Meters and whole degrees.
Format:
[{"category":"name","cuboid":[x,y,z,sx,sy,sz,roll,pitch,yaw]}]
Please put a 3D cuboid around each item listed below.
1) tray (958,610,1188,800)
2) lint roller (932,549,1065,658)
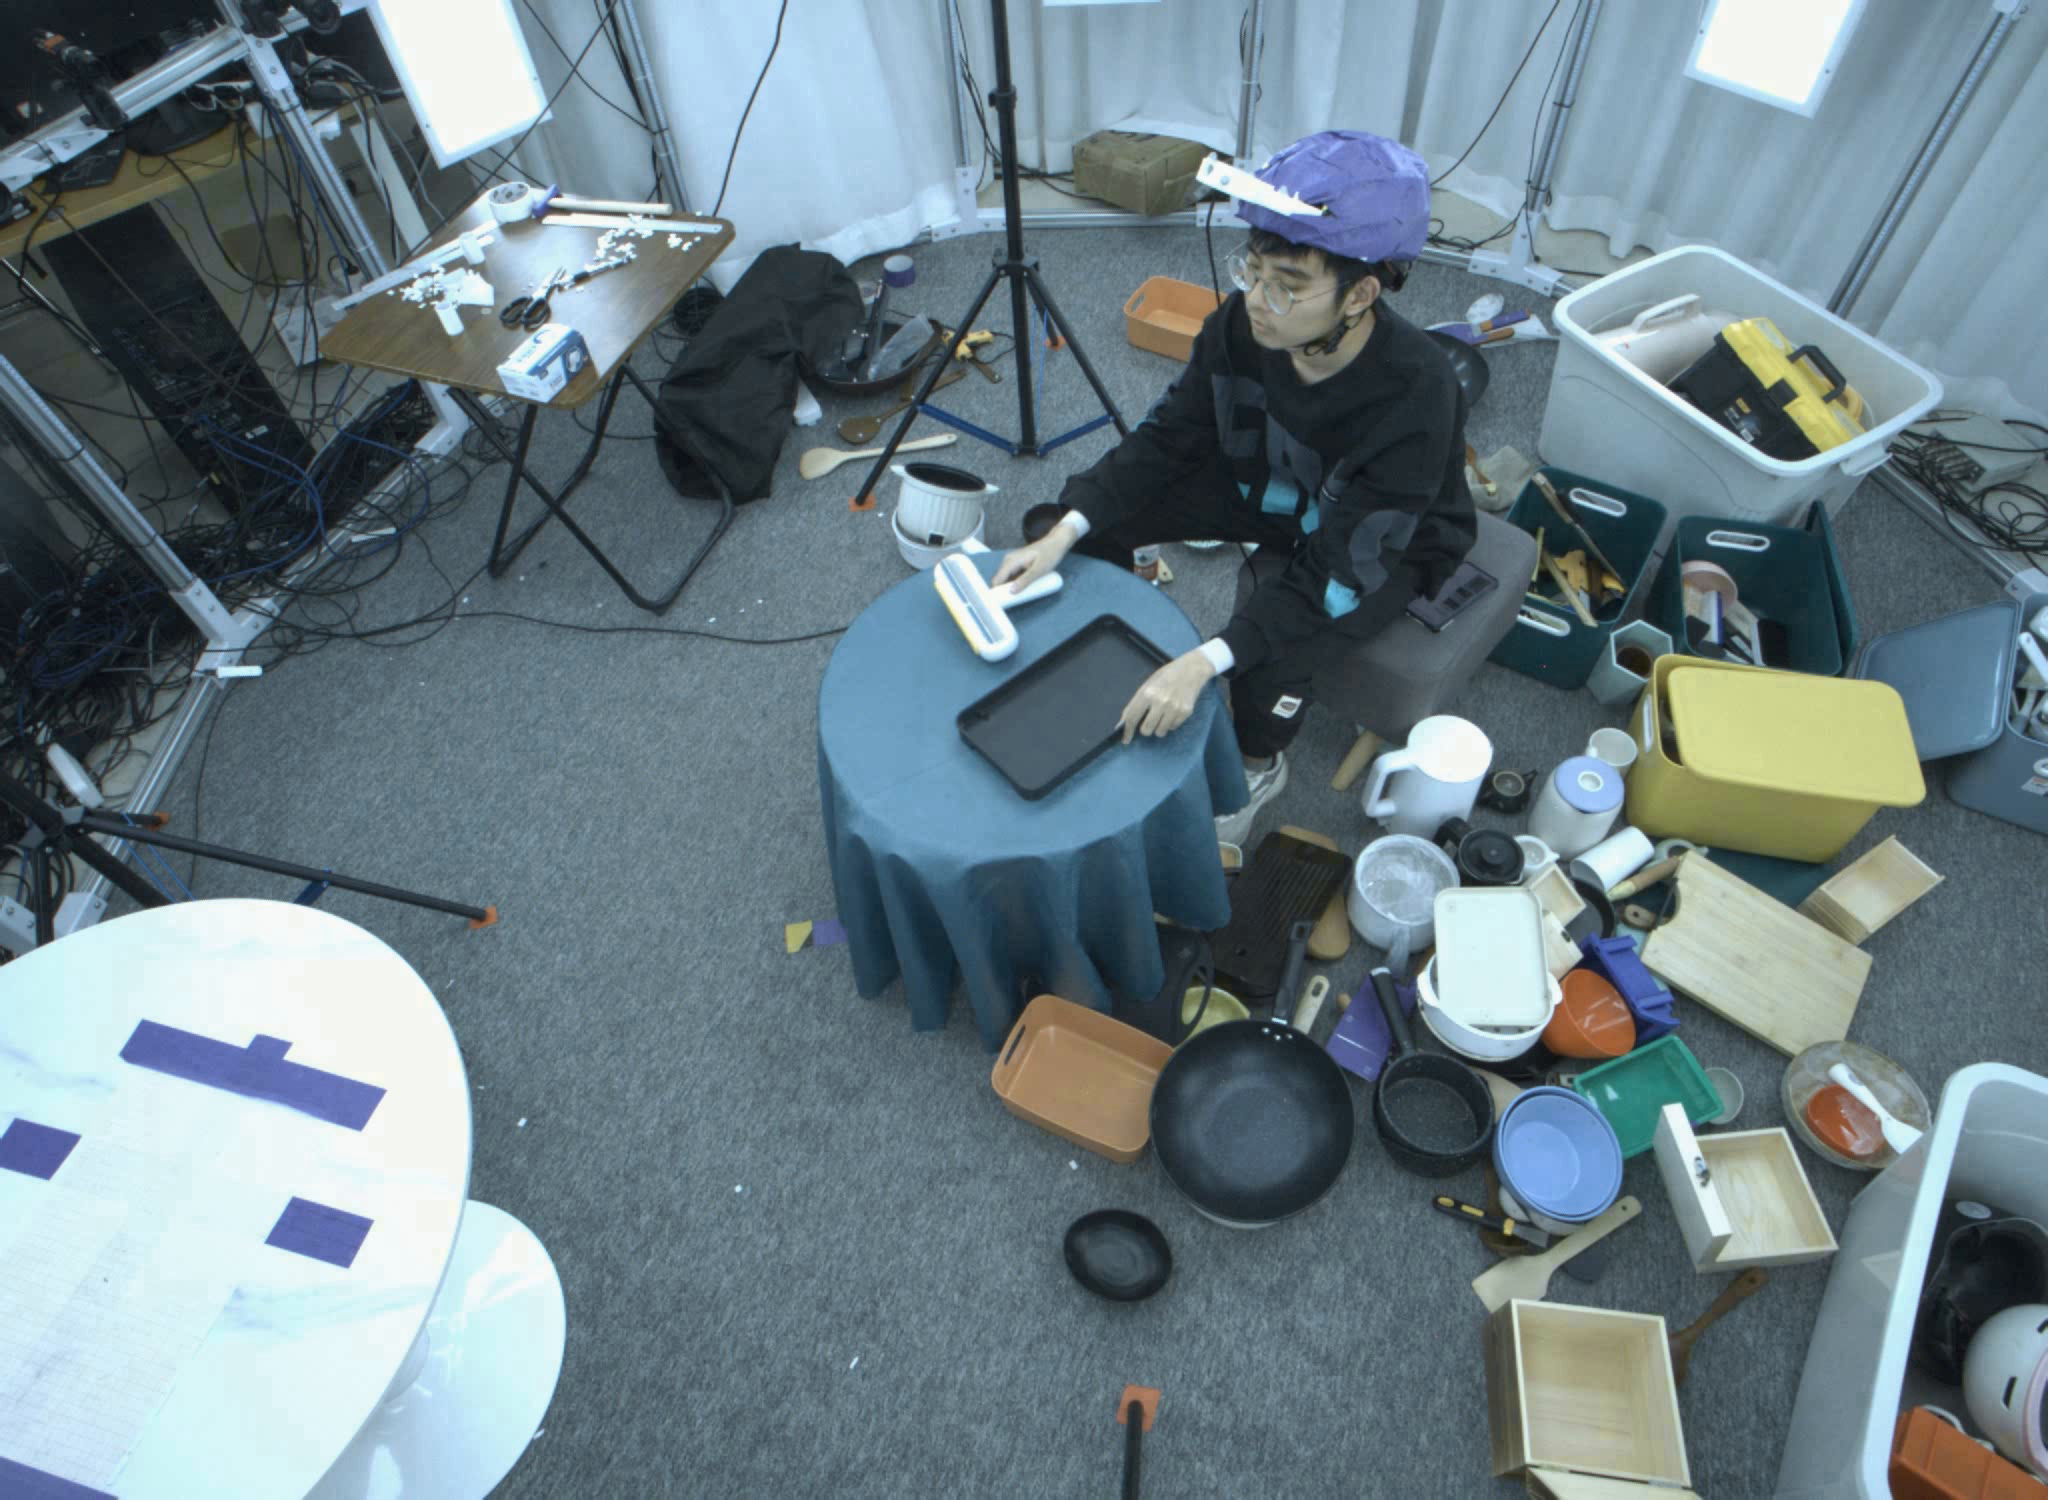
[{"category":"tray","cuboid":[0.074,-0.072,1.809,0.320,0.037,0.181,-37,61,-22]},{"category":"lint roller","cuboid":[-0.026,-0.246,1.911,0.193,0.075,0.190,-24,64,-11]}]
